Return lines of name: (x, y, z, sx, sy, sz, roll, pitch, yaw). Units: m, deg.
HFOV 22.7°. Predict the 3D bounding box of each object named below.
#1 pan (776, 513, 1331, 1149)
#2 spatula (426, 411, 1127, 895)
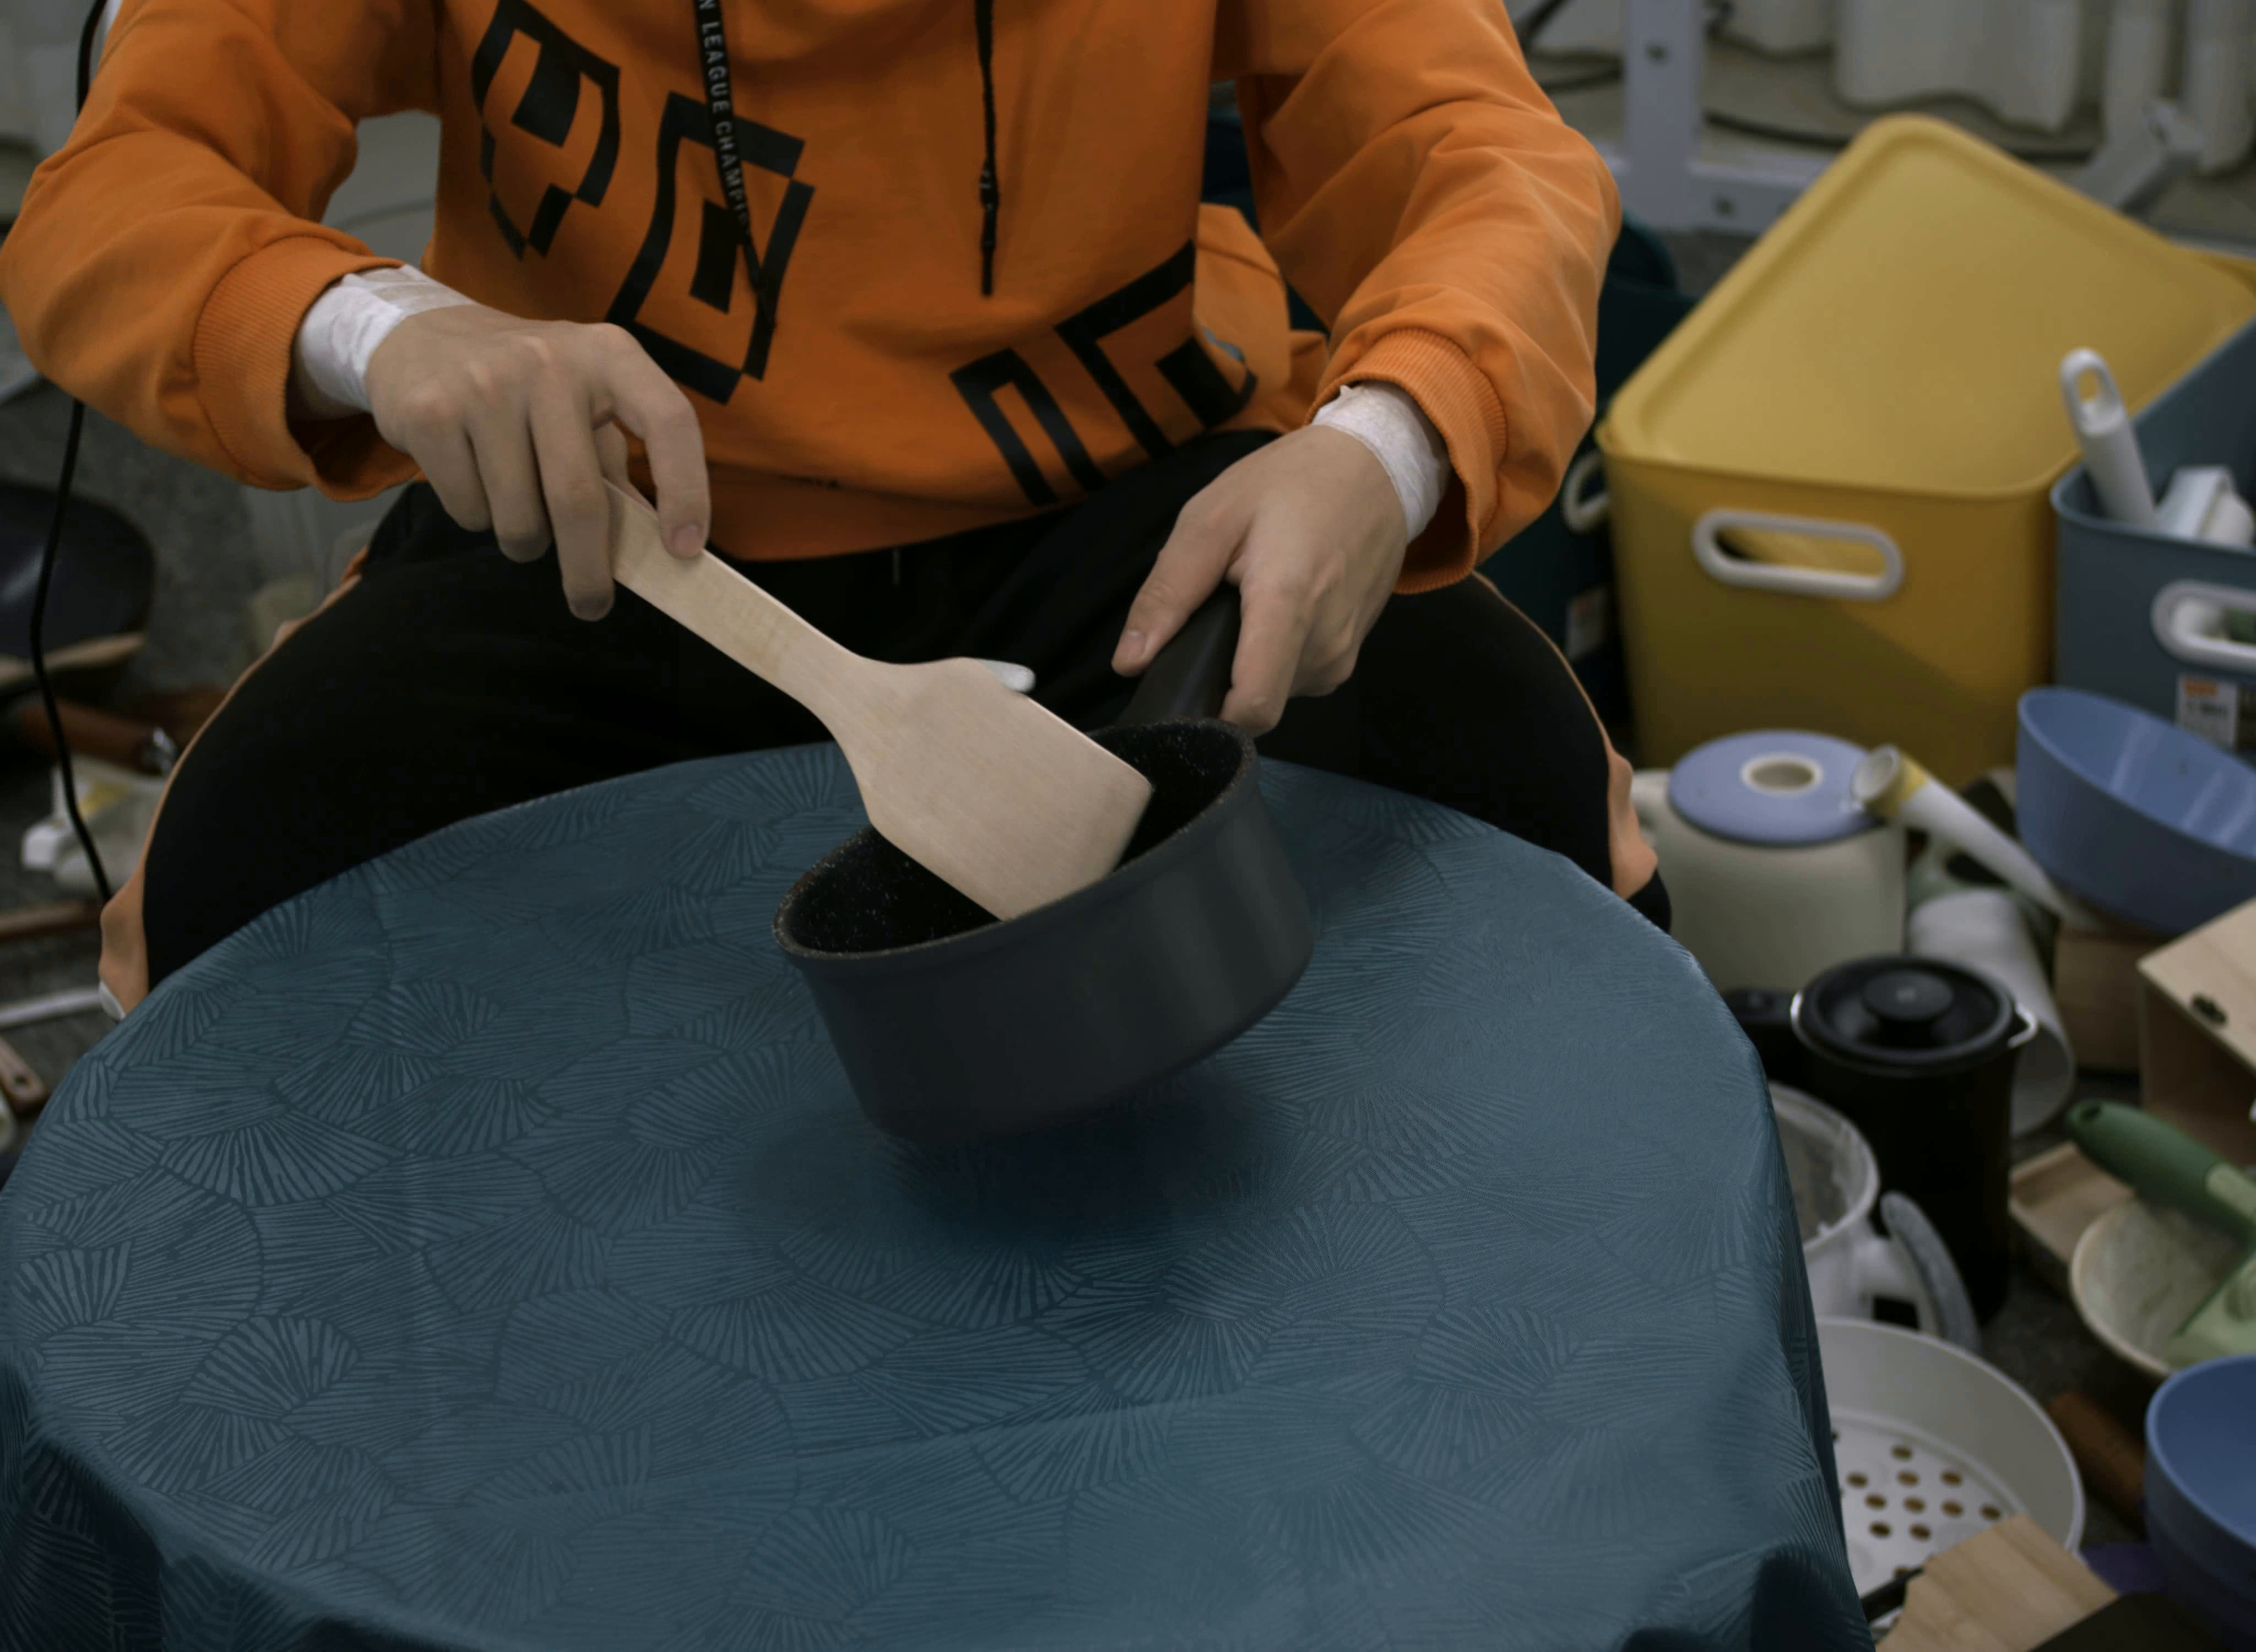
pan: (0.006, -0.001, 1.928, 0.170, 0.086, 0.334, -10, 22, 29)
spatula: (-0.128, -0.071, 1.933, 0.293, 0.072, 0.011, 30, 15, 23)
